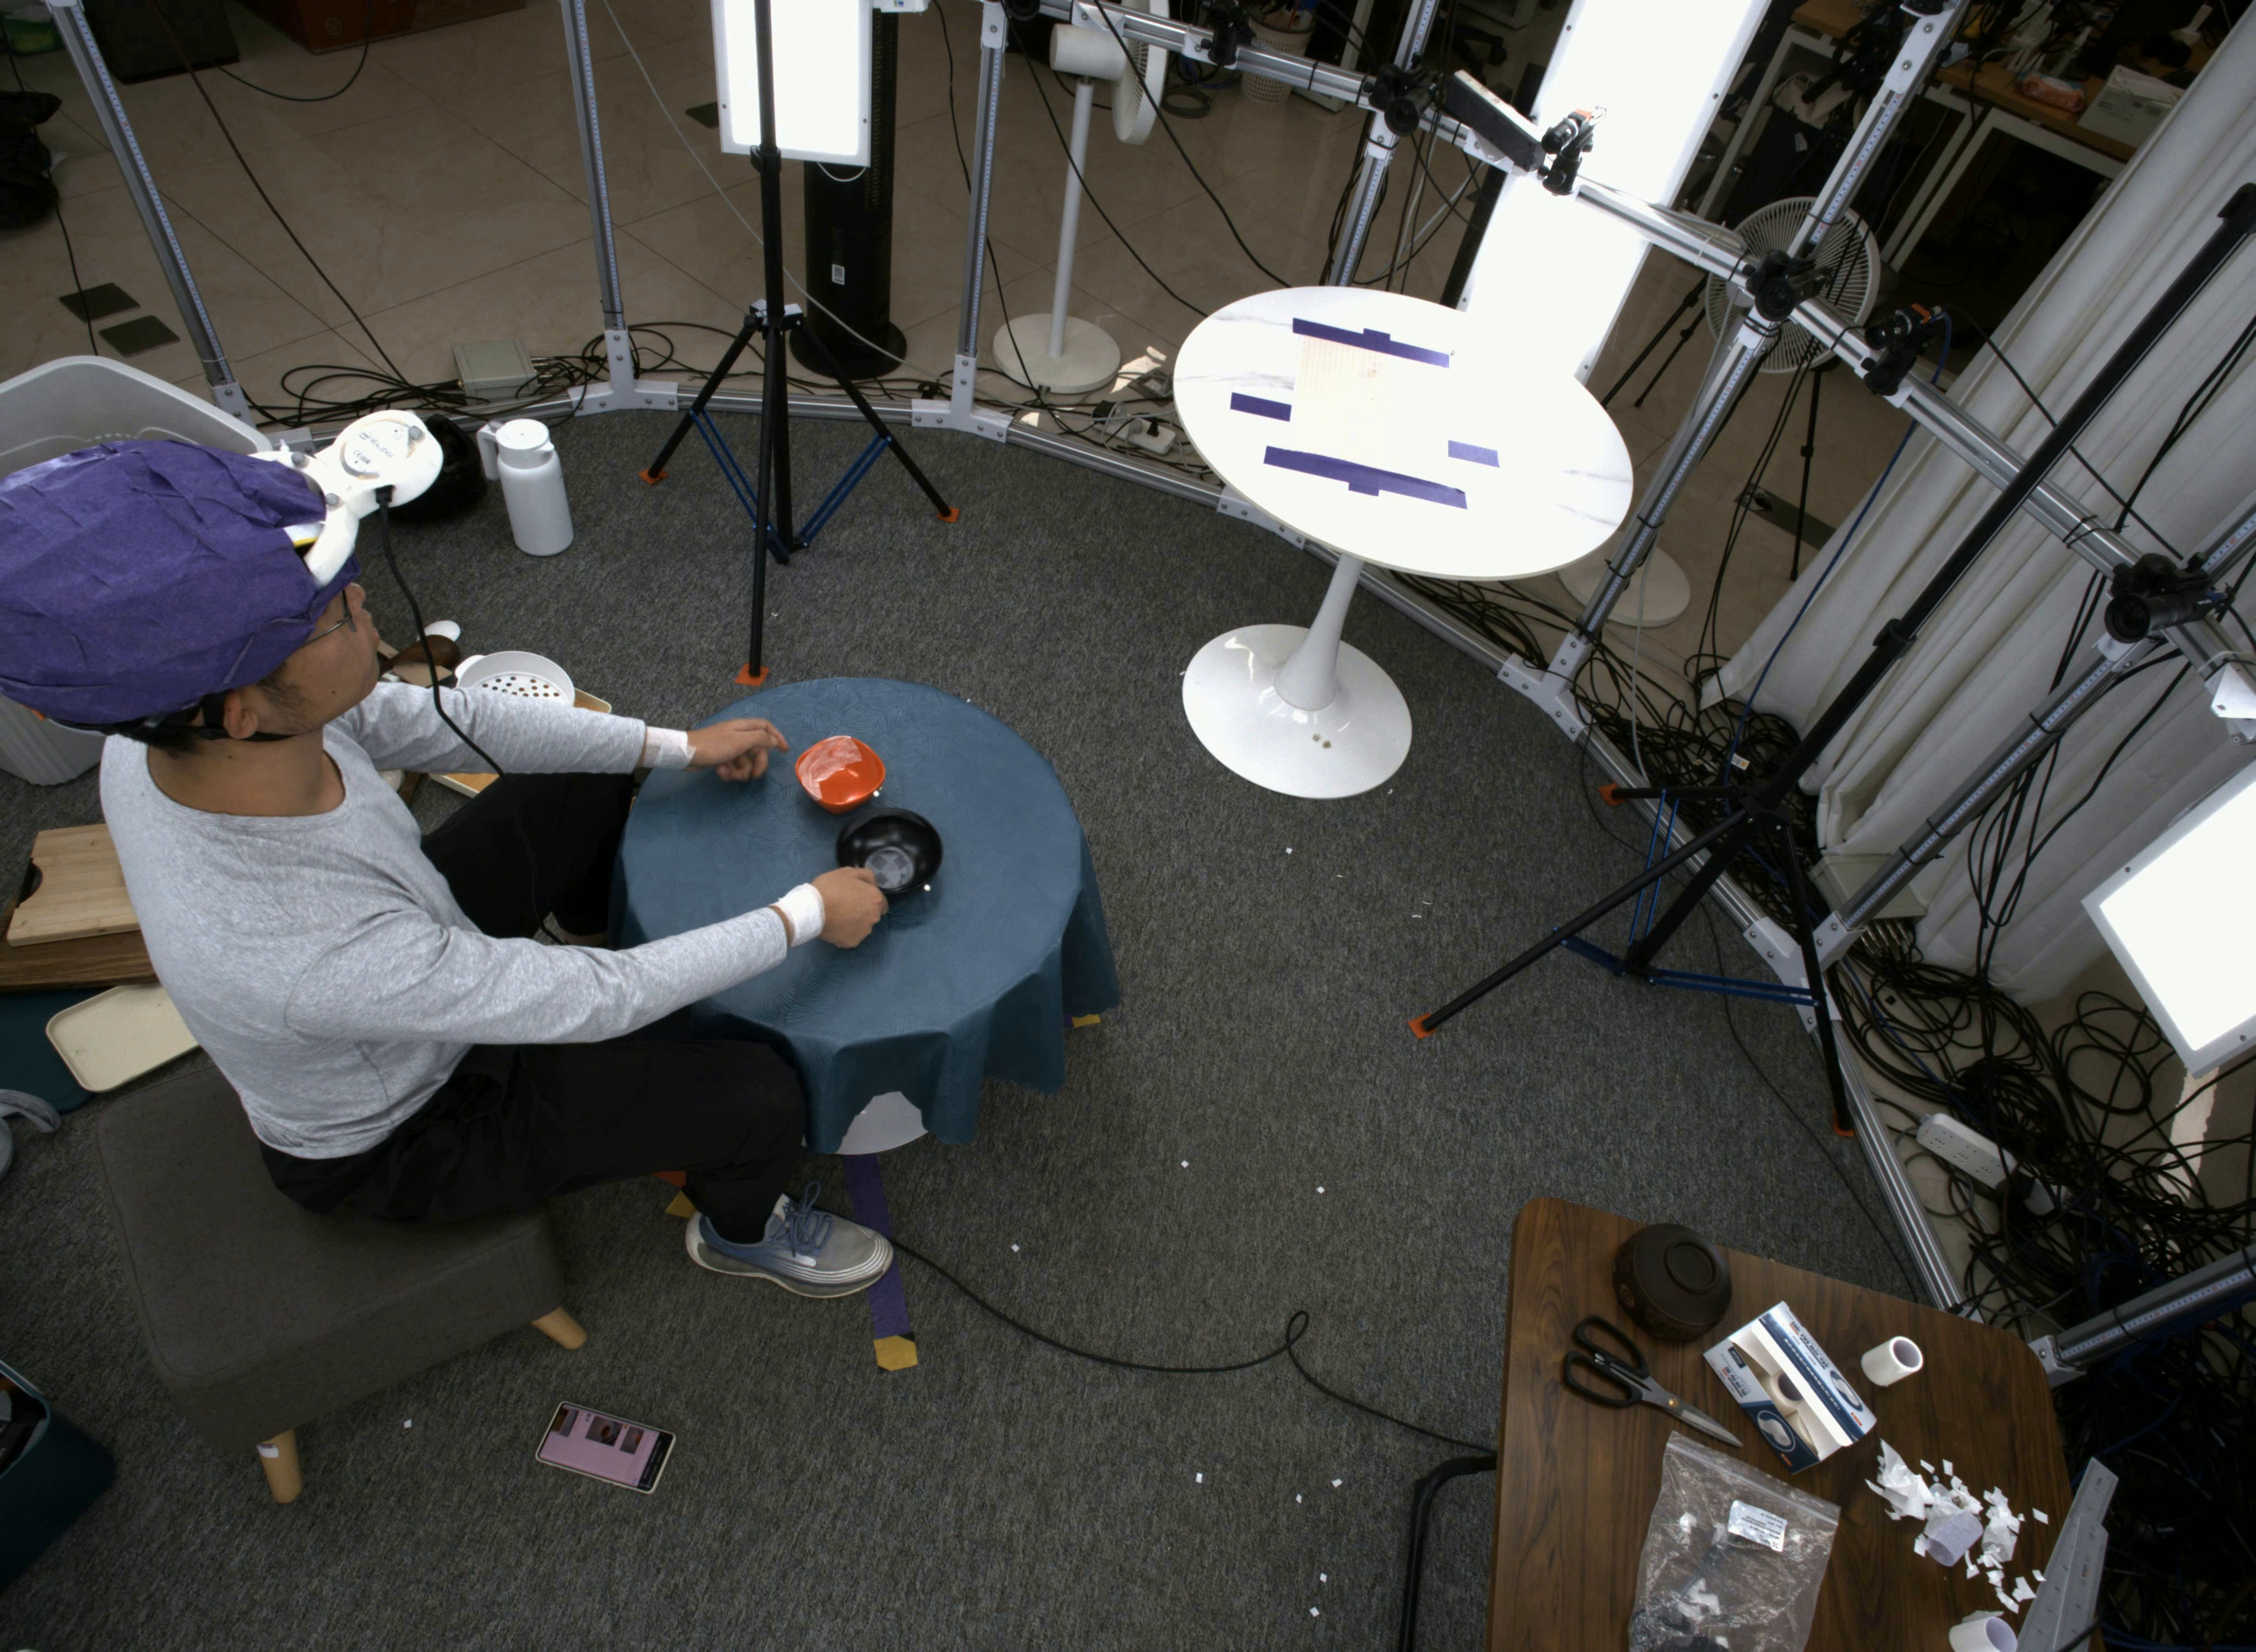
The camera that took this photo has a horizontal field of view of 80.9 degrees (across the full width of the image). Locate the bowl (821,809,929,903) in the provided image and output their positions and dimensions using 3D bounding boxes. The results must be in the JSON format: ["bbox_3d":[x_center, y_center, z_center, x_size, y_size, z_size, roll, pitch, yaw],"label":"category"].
[{"bbox_3d":[-0.329,0.046,1.695,0.139,0.051,0.137,6,54,-6],"label":"bowl"}]

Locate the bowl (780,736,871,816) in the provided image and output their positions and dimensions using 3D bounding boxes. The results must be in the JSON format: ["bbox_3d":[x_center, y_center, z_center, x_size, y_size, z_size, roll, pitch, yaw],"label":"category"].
[{"bbox_3d":[-0.408,-0.060,1.749,0.119,0.052,0.117,9,51,-10],"label":"bowl"}]
